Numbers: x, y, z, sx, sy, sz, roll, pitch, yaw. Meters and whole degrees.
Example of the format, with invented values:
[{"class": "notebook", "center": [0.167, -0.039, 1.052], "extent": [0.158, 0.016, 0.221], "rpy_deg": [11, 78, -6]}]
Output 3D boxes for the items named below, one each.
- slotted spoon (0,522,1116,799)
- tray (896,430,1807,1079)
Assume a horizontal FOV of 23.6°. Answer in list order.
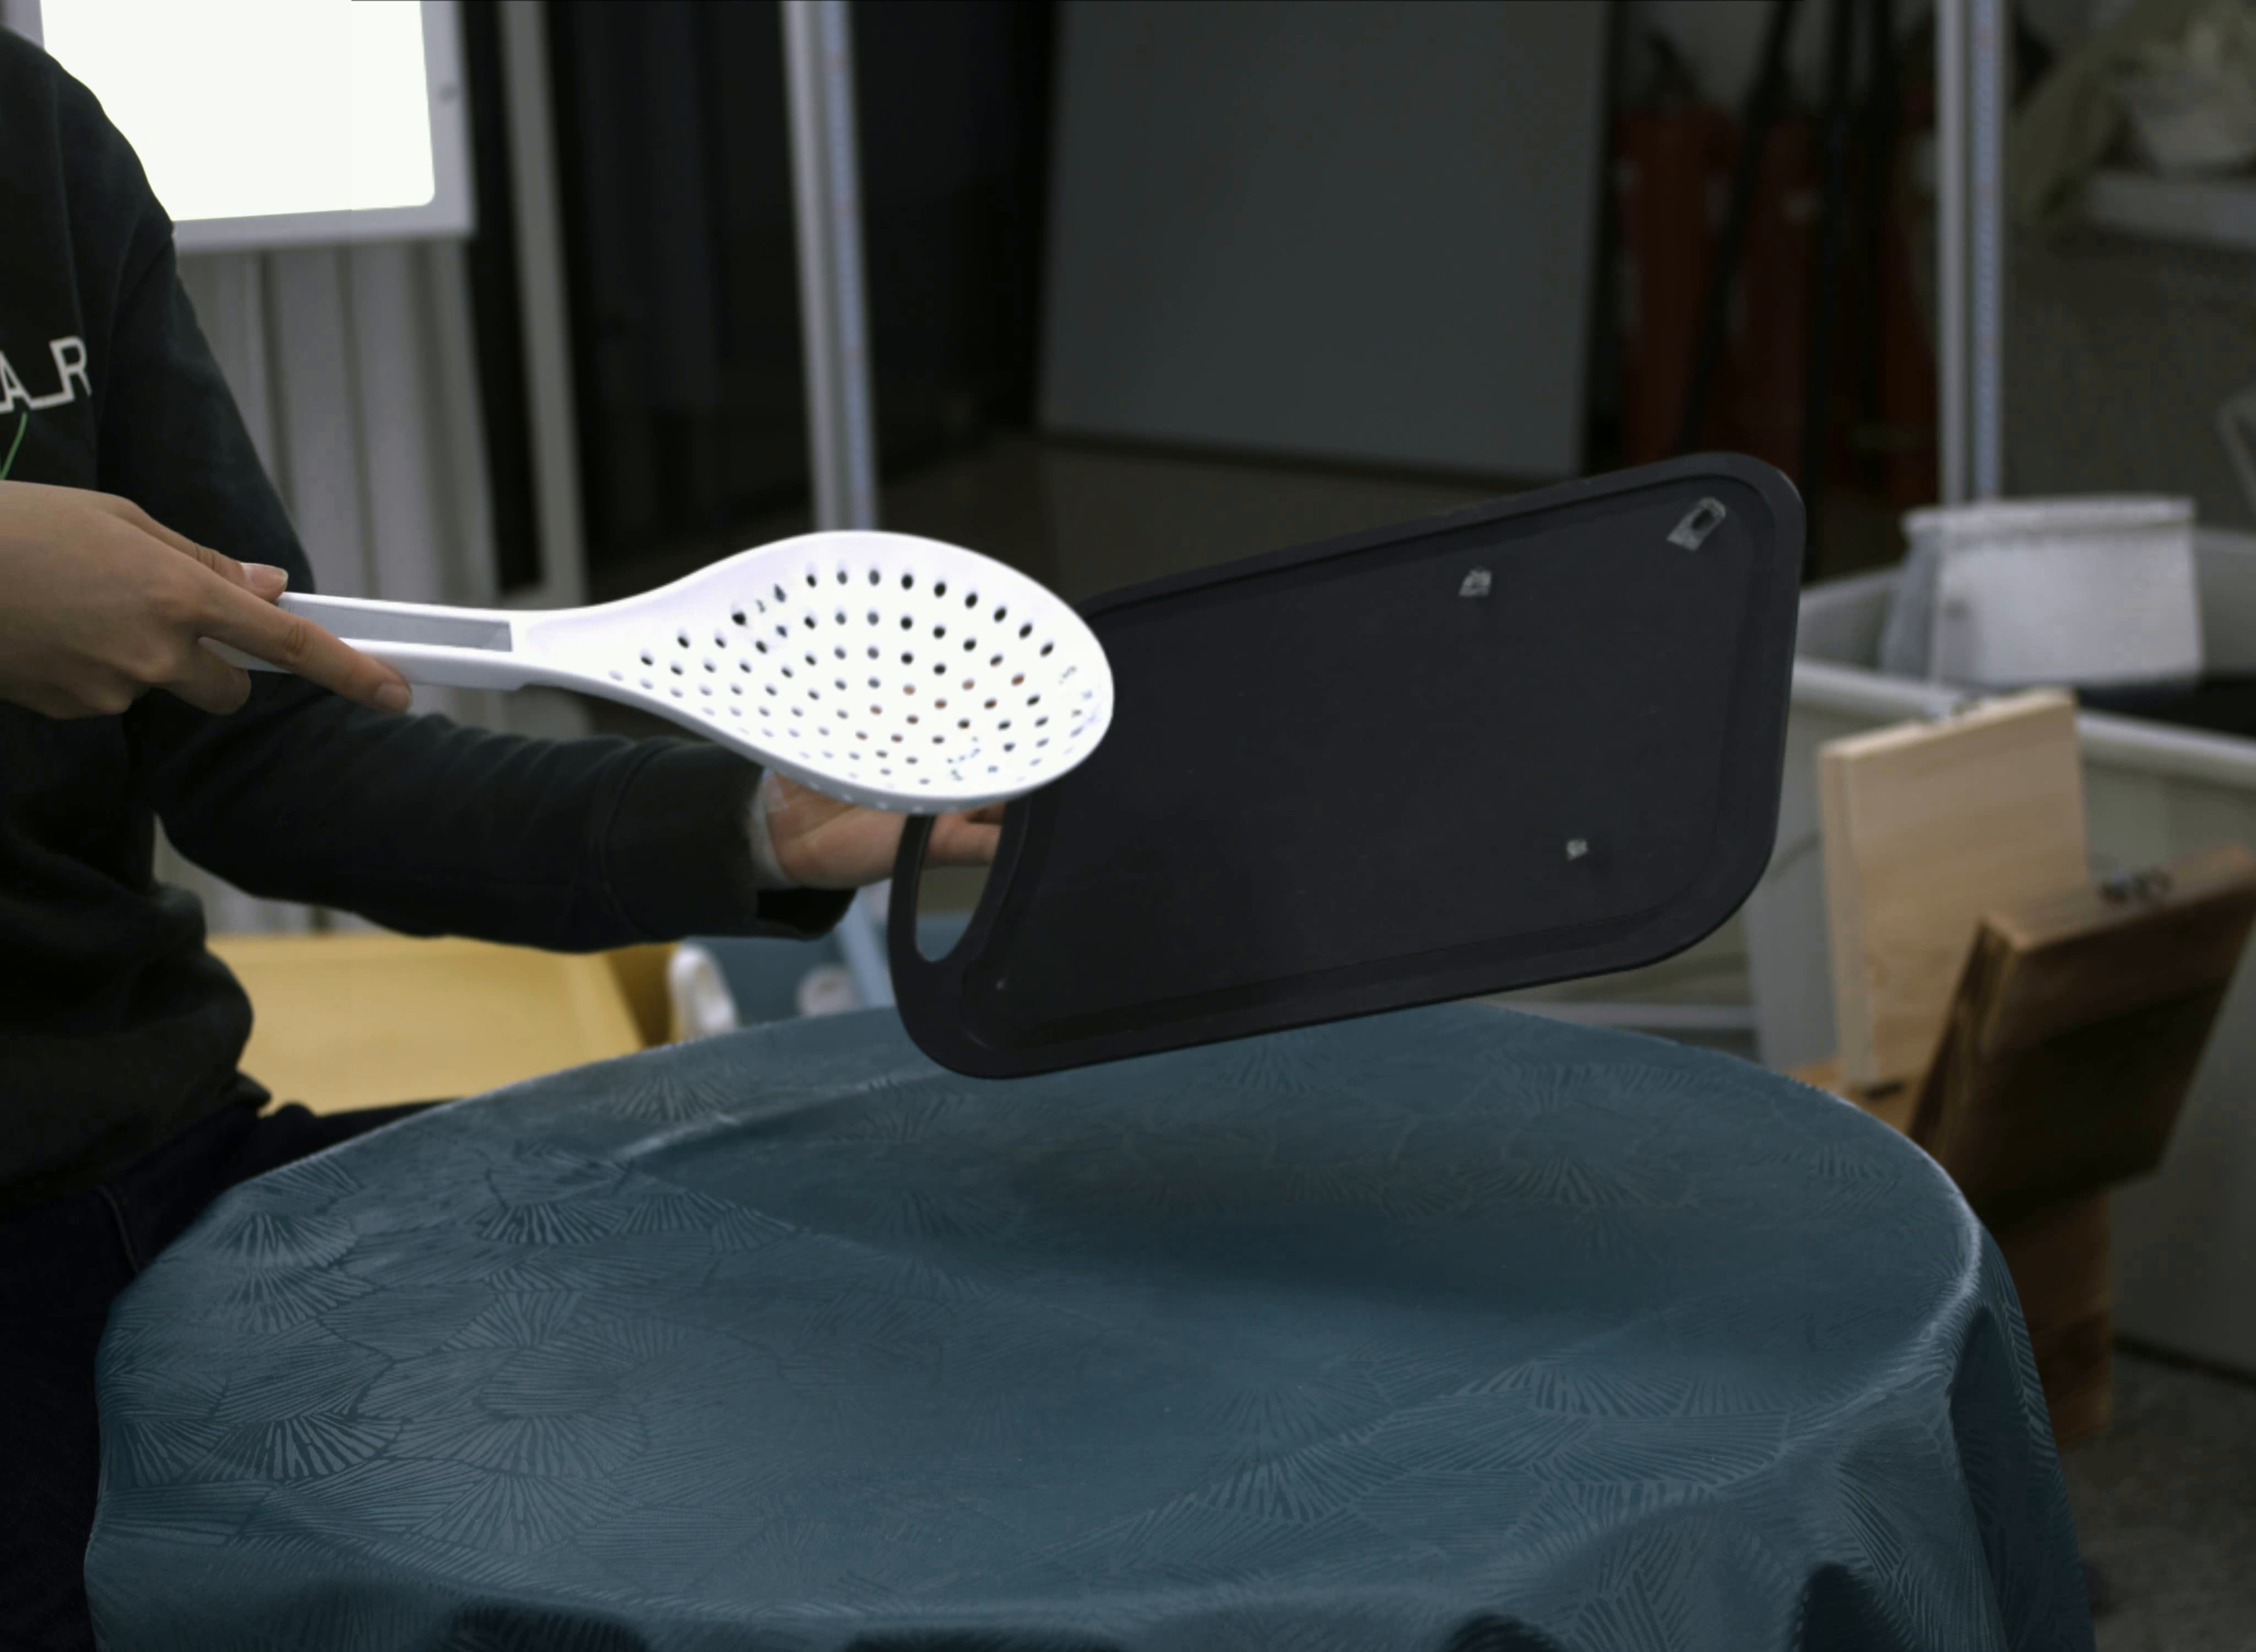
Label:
[{"class": "slotted spoon", "center": [-0.175, -0.057, 1.670], "extent": [0.343, 0.046, 0.137], "rpy_deg": [7, 35, -15]}, {"class": "tray", "center": [0.065, -0.021, 1.737], "extent": [0.326, 0.010, 0.212], "rpy_deg": [-13, 48, 28]}]
